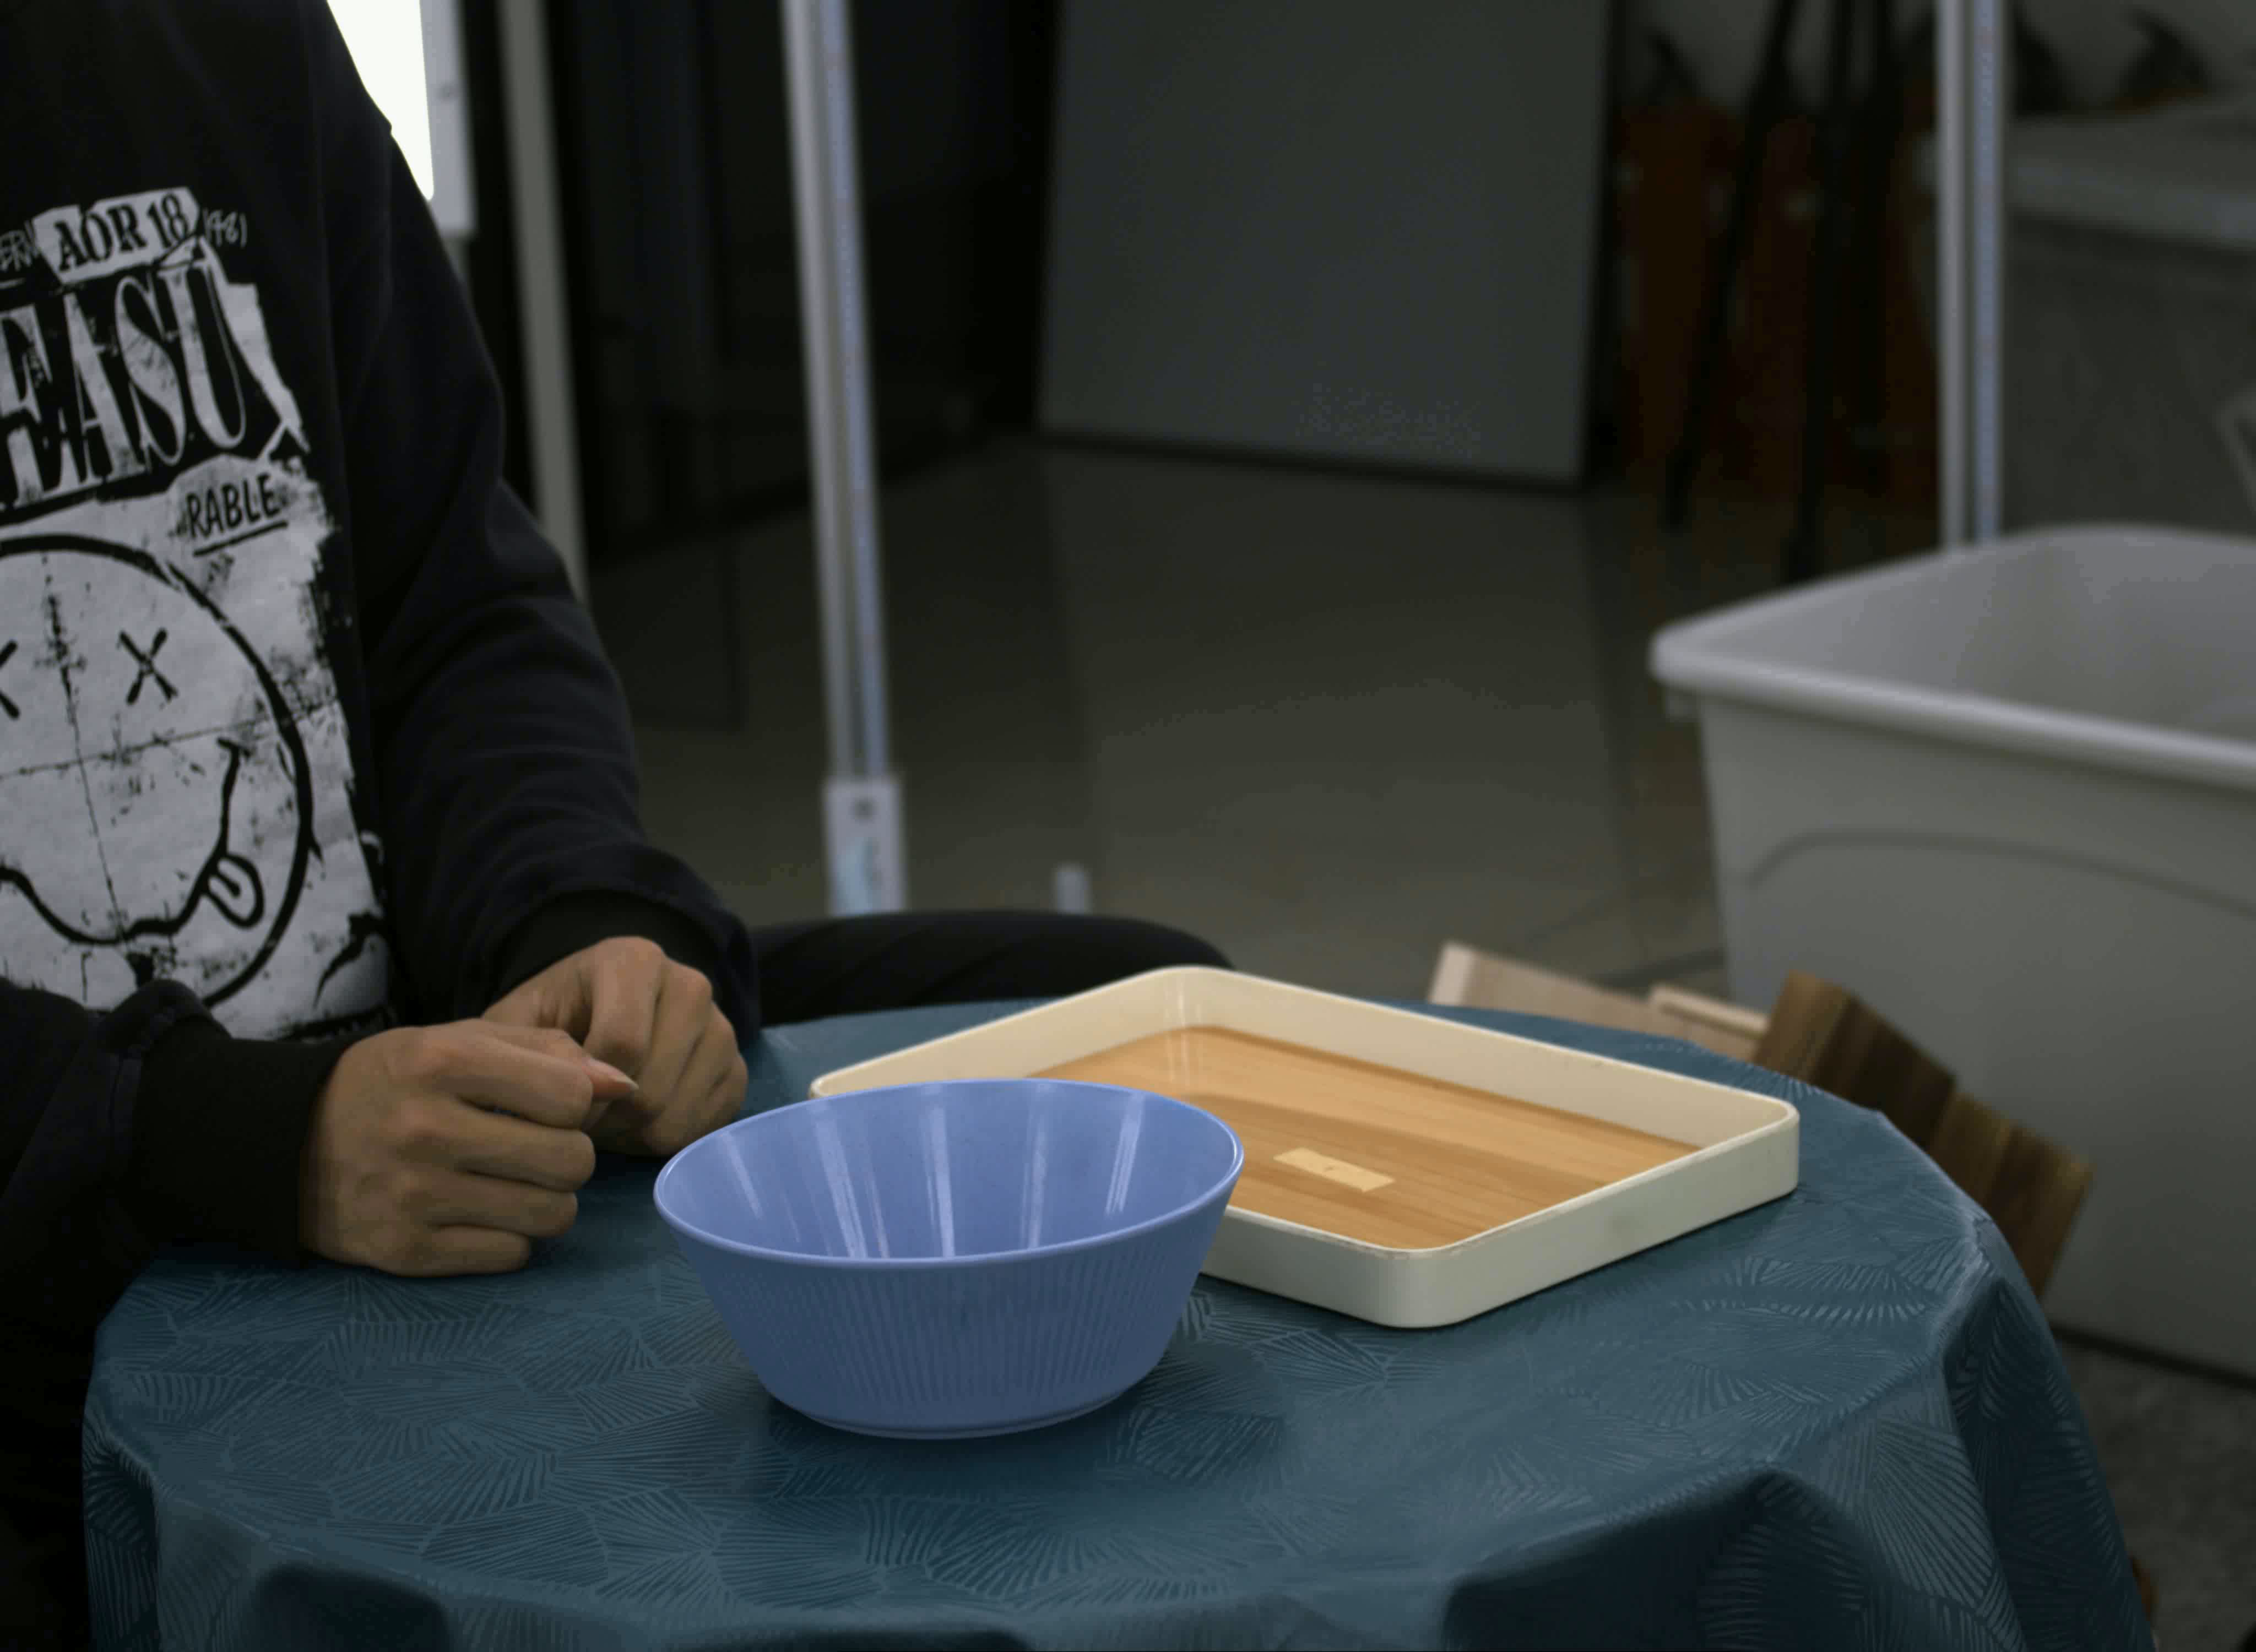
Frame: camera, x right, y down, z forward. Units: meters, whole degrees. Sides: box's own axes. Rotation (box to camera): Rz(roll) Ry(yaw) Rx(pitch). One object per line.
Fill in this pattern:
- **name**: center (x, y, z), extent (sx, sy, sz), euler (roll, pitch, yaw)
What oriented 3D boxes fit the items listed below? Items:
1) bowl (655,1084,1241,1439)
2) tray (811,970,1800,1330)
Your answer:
- **bowl**: center (-0.052, 0.131, 1.598), extent (0.174, 0.071, 0.176), euler (-3, 13, 0)
- **tray**: center (0.055, 0.103, 1.776), extent (0.187, 0.028, 0.303), euler (-16, 19, -40)
